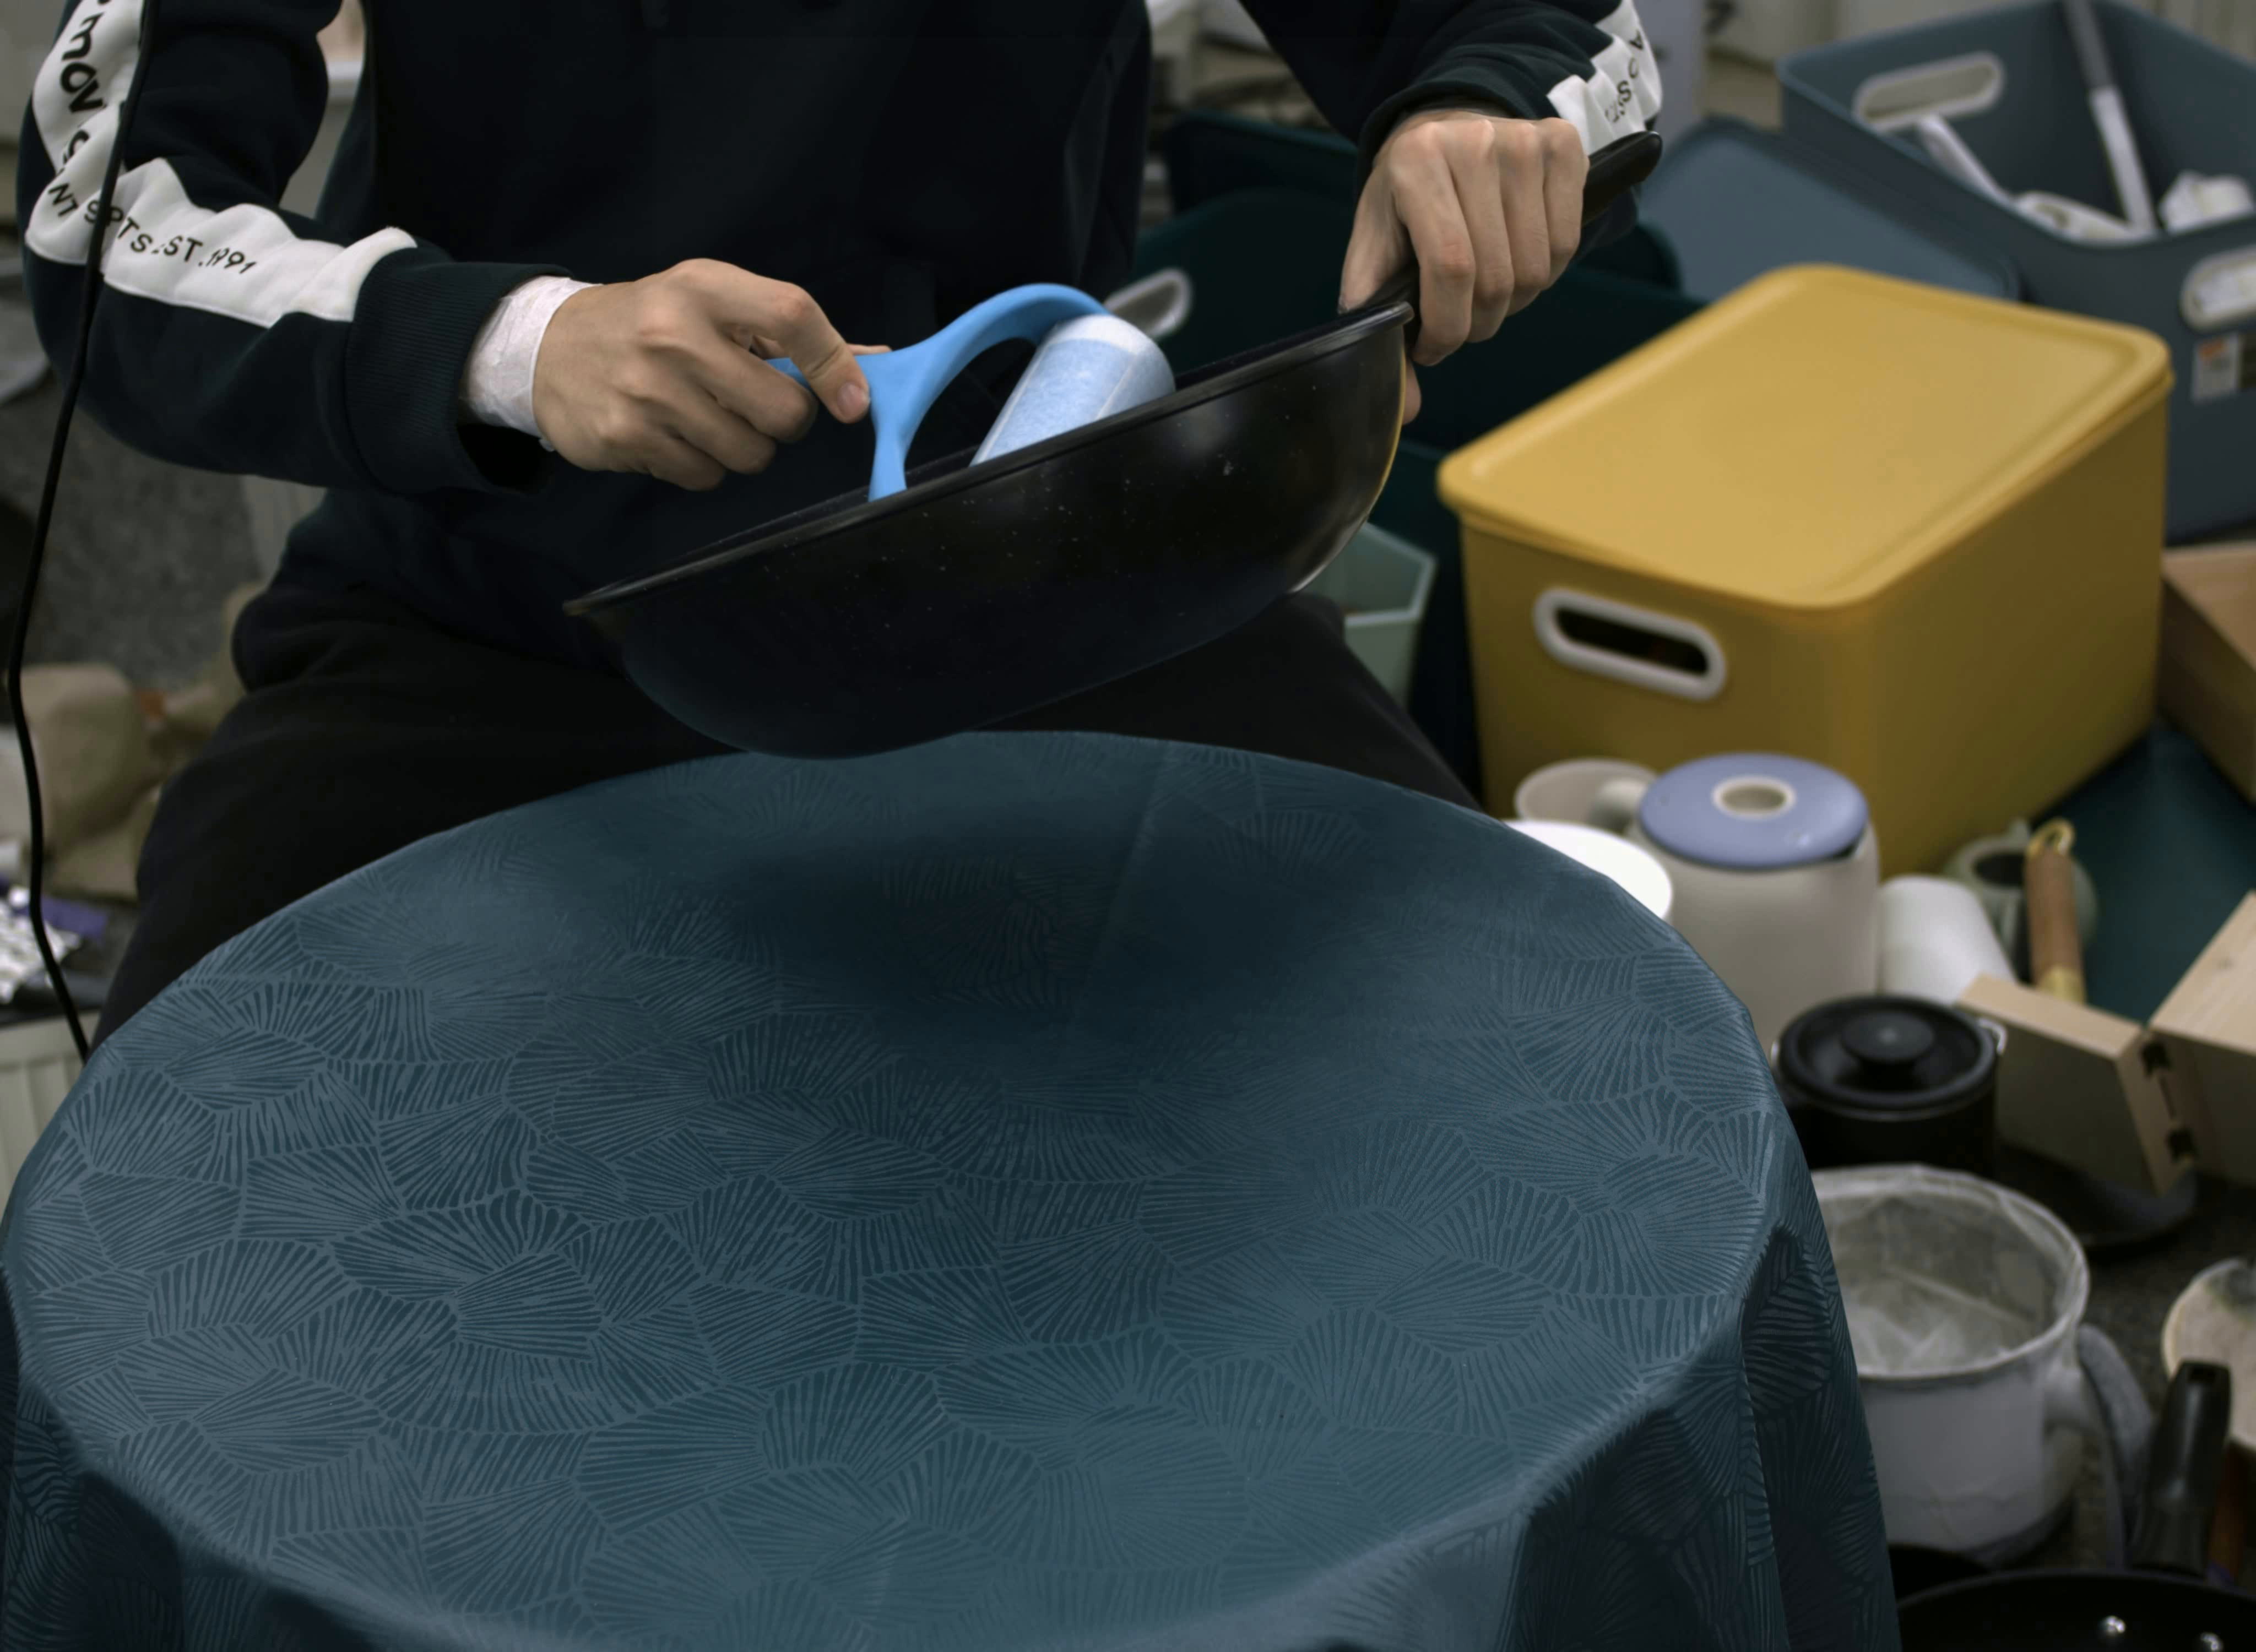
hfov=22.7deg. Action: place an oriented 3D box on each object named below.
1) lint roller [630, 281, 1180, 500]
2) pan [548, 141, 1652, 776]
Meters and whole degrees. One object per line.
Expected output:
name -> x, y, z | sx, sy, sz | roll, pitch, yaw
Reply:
lint roller -> -0.084, -0.129, 1.962 | 0.179, 0.067, 0.233 | 15, 35, 2
pan -> 0.022, -0.123, 1.970 | 0.482, 0.112, 0.307 | -23, 8, -34
